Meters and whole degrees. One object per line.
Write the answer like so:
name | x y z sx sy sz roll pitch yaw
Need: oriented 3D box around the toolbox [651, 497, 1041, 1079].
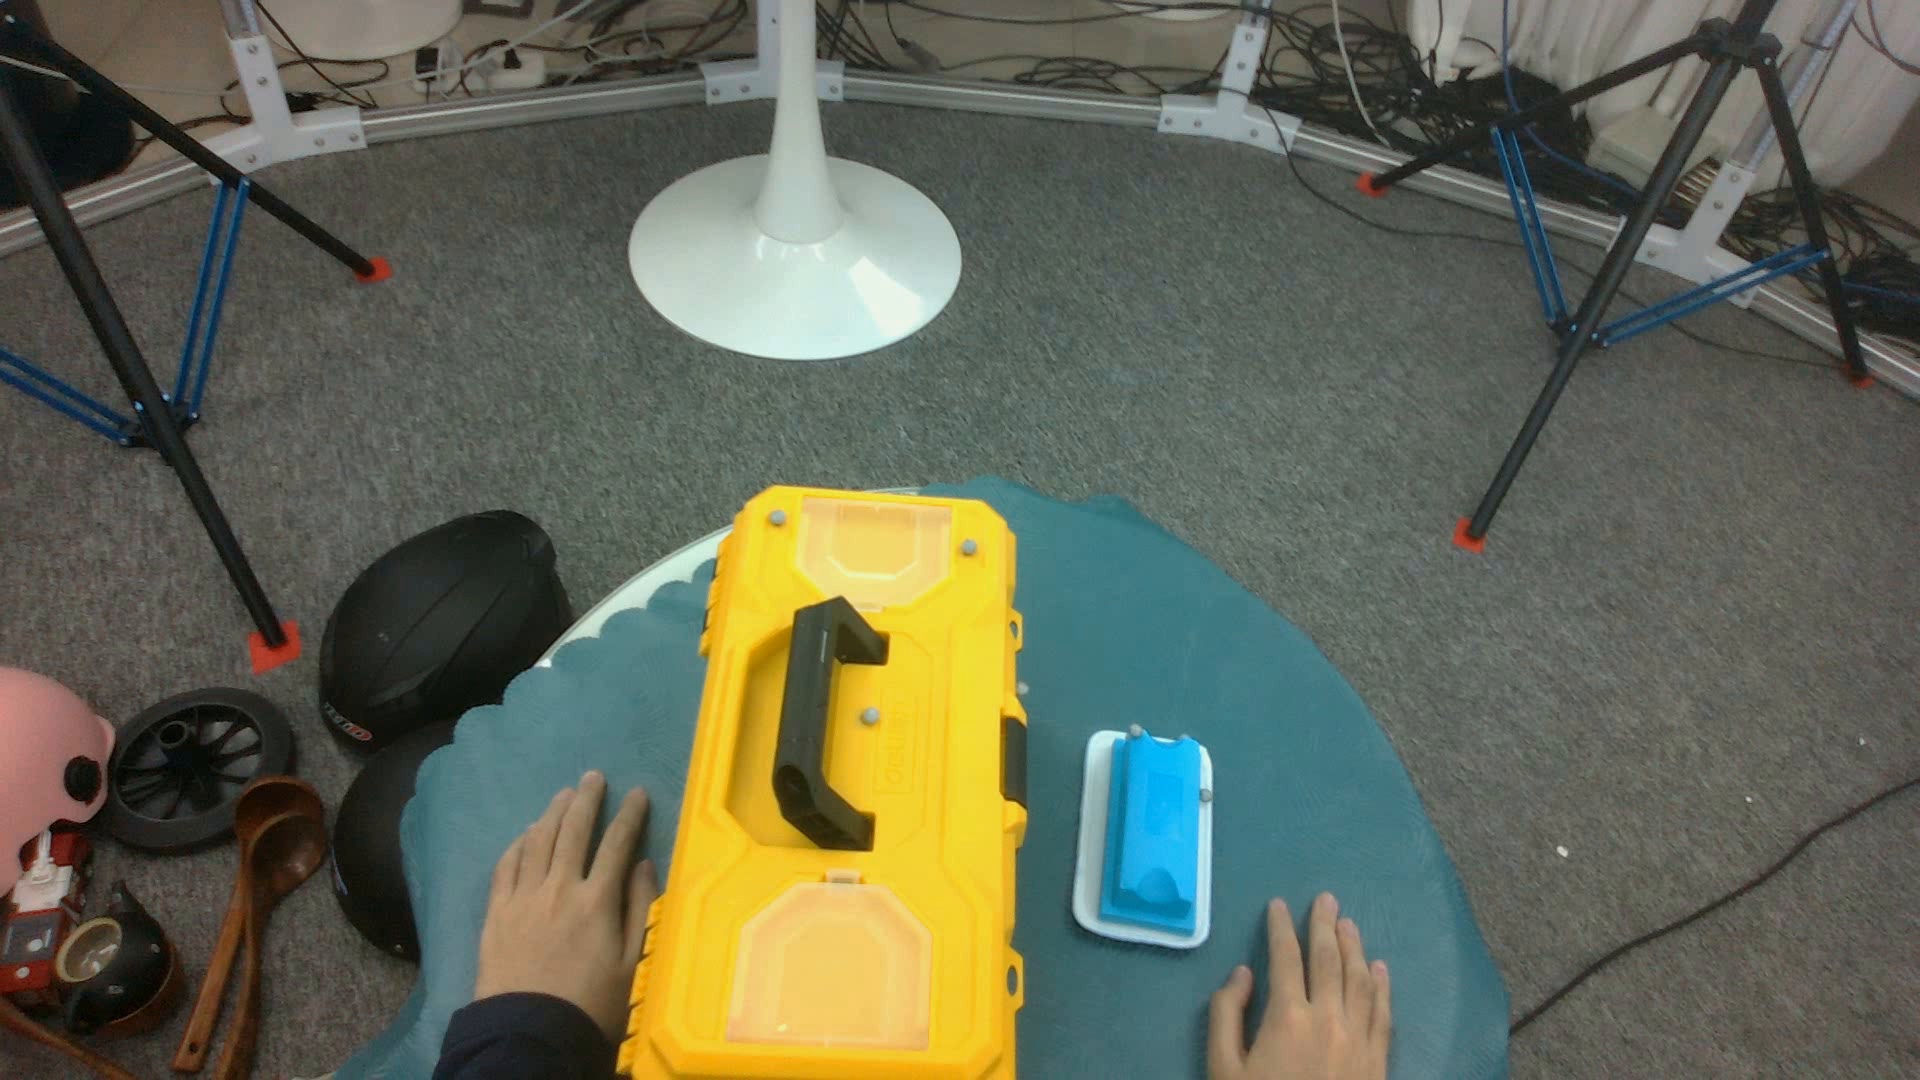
toolbox | -0.055 0.153 0.746 0.181 0.172 0.353 3 49 -3

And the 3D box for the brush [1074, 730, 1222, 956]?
brush | 0.116 0.172 0.822 0.084 0.055 0.144 8 47 5
